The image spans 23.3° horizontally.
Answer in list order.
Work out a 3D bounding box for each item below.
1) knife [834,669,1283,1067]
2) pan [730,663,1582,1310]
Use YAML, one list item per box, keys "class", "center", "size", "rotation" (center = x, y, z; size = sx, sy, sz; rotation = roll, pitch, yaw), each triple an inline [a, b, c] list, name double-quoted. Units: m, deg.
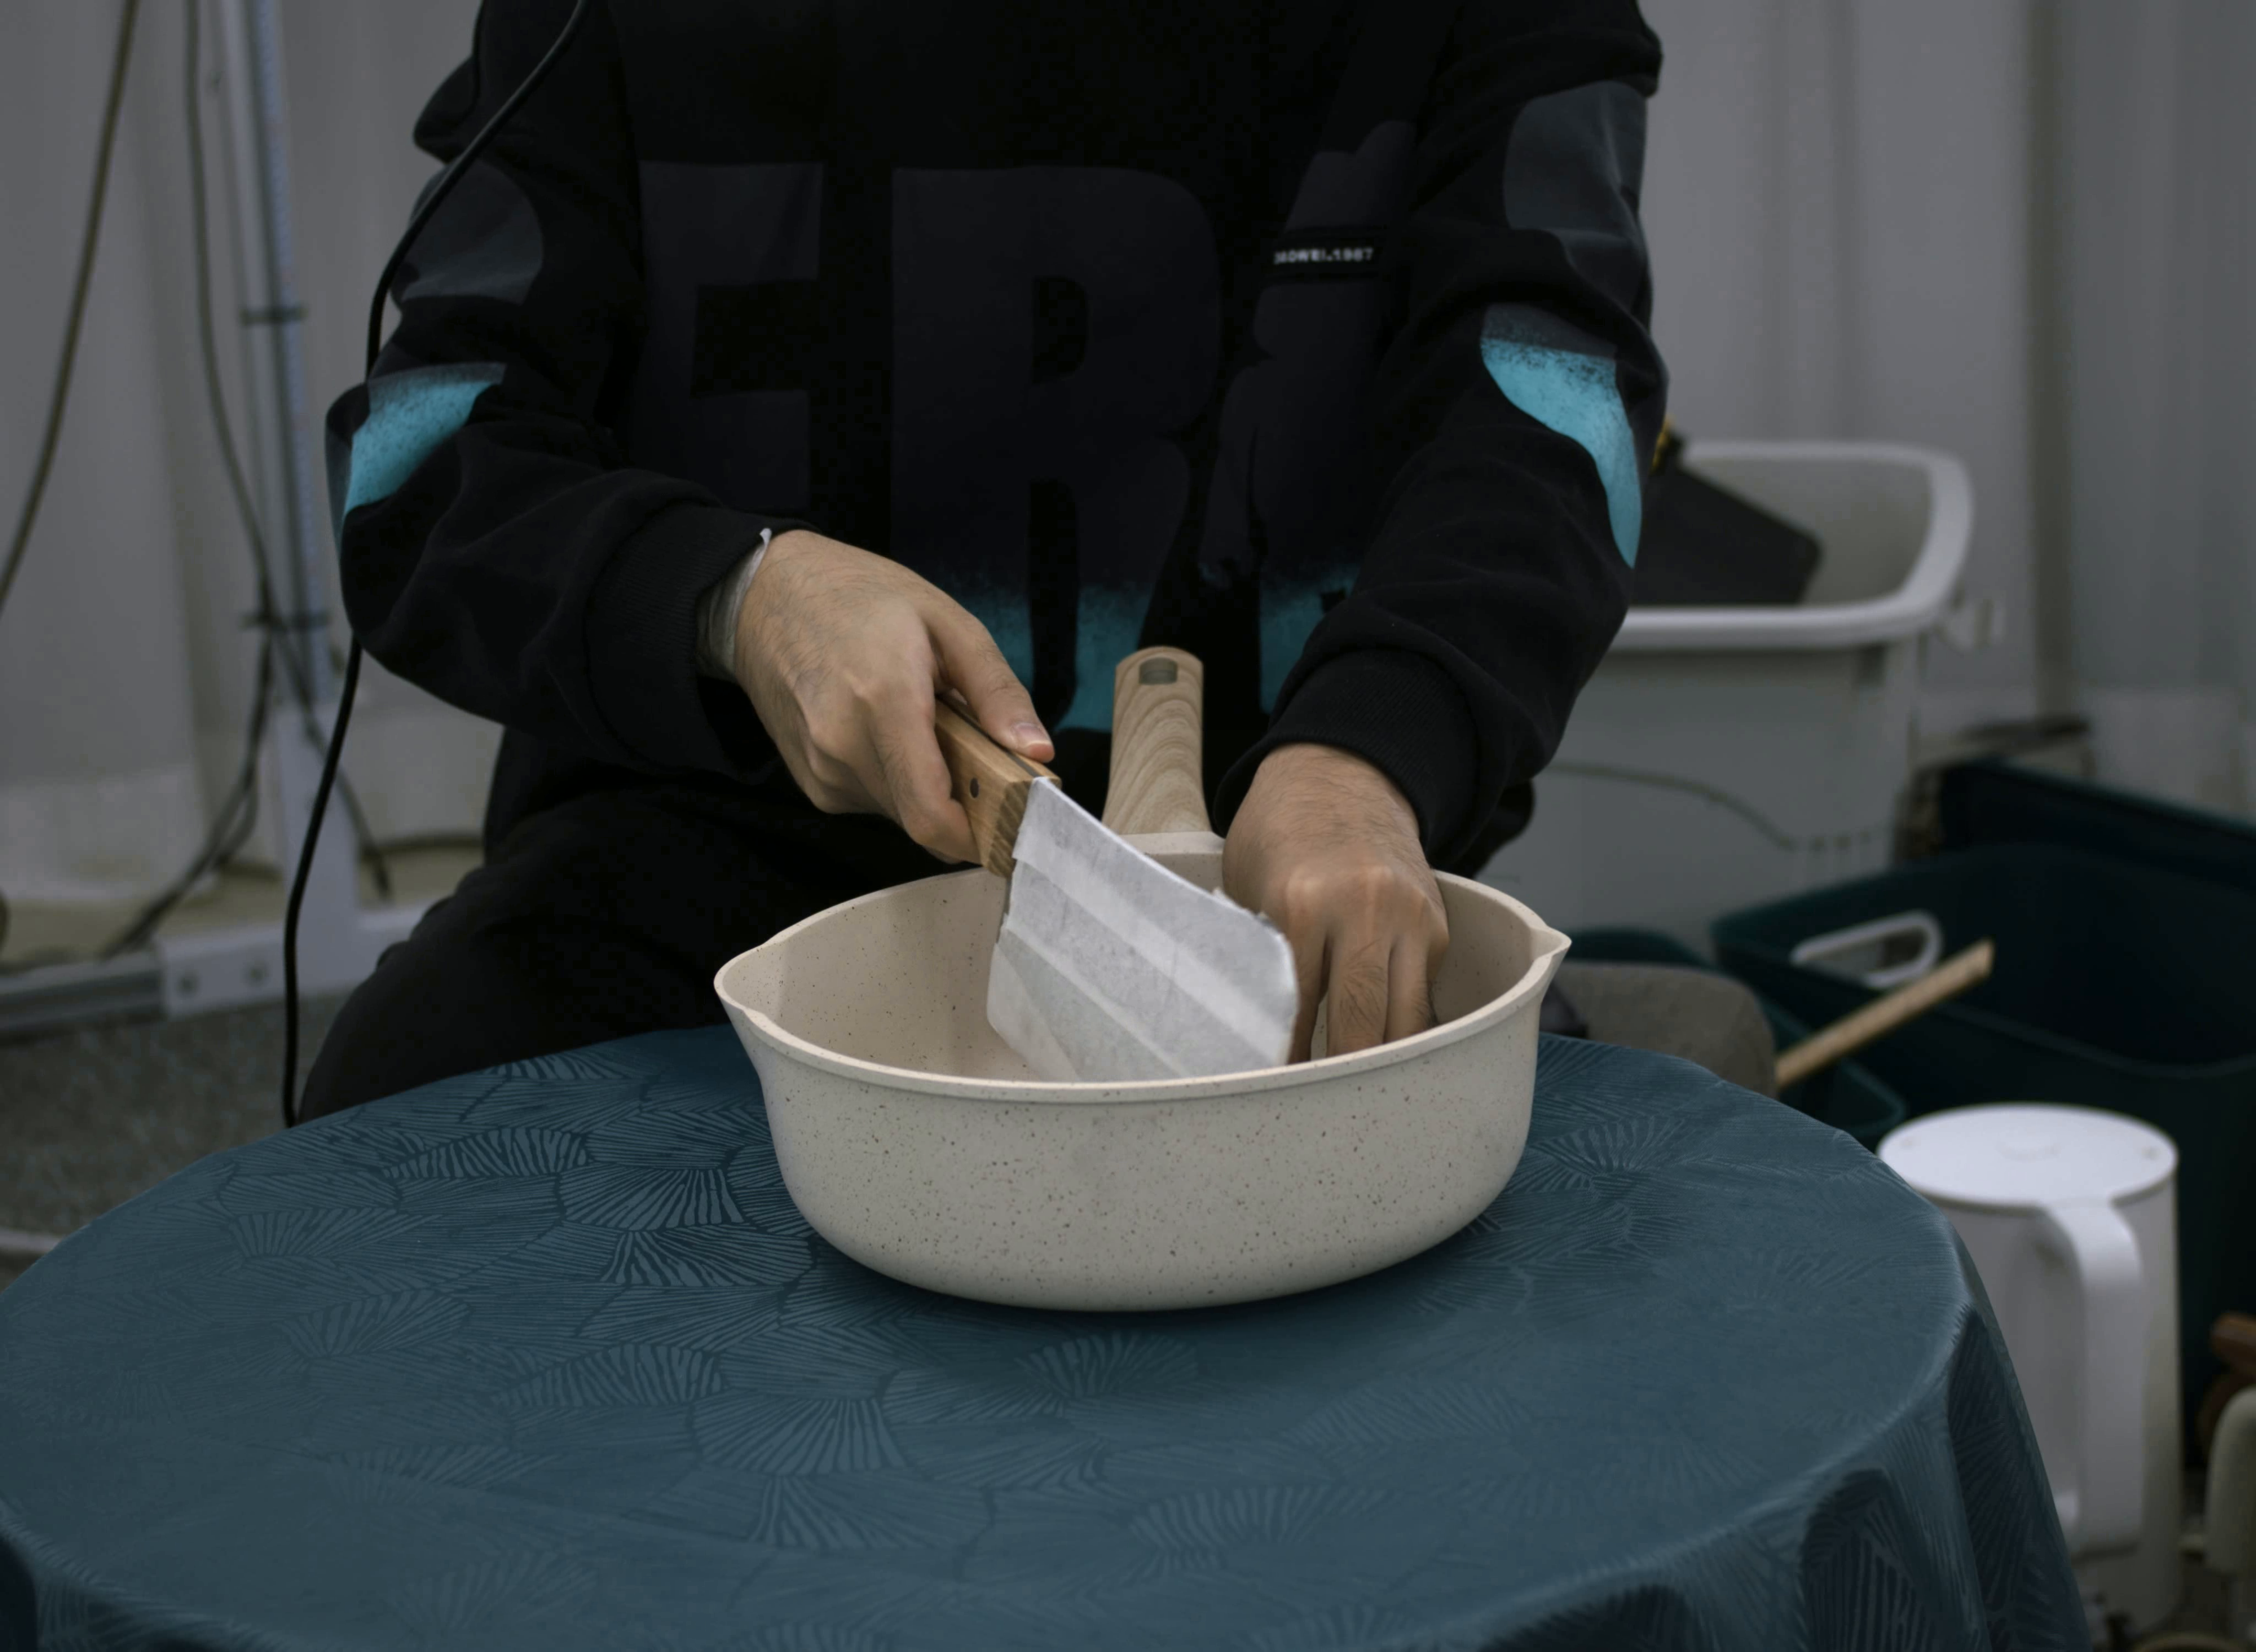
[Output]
- class: "knife"
  center: [-0.024, 0.024, 1.720]
  size: [0.021, 0.113, 0.319]
  rotation: [2, 24, -28]
- class: "pan"
  center: [0.012, 0.047, 1.773]
  size: [0.262, 0.101, 0.438]
  rotation: [-5, 15, 2]
